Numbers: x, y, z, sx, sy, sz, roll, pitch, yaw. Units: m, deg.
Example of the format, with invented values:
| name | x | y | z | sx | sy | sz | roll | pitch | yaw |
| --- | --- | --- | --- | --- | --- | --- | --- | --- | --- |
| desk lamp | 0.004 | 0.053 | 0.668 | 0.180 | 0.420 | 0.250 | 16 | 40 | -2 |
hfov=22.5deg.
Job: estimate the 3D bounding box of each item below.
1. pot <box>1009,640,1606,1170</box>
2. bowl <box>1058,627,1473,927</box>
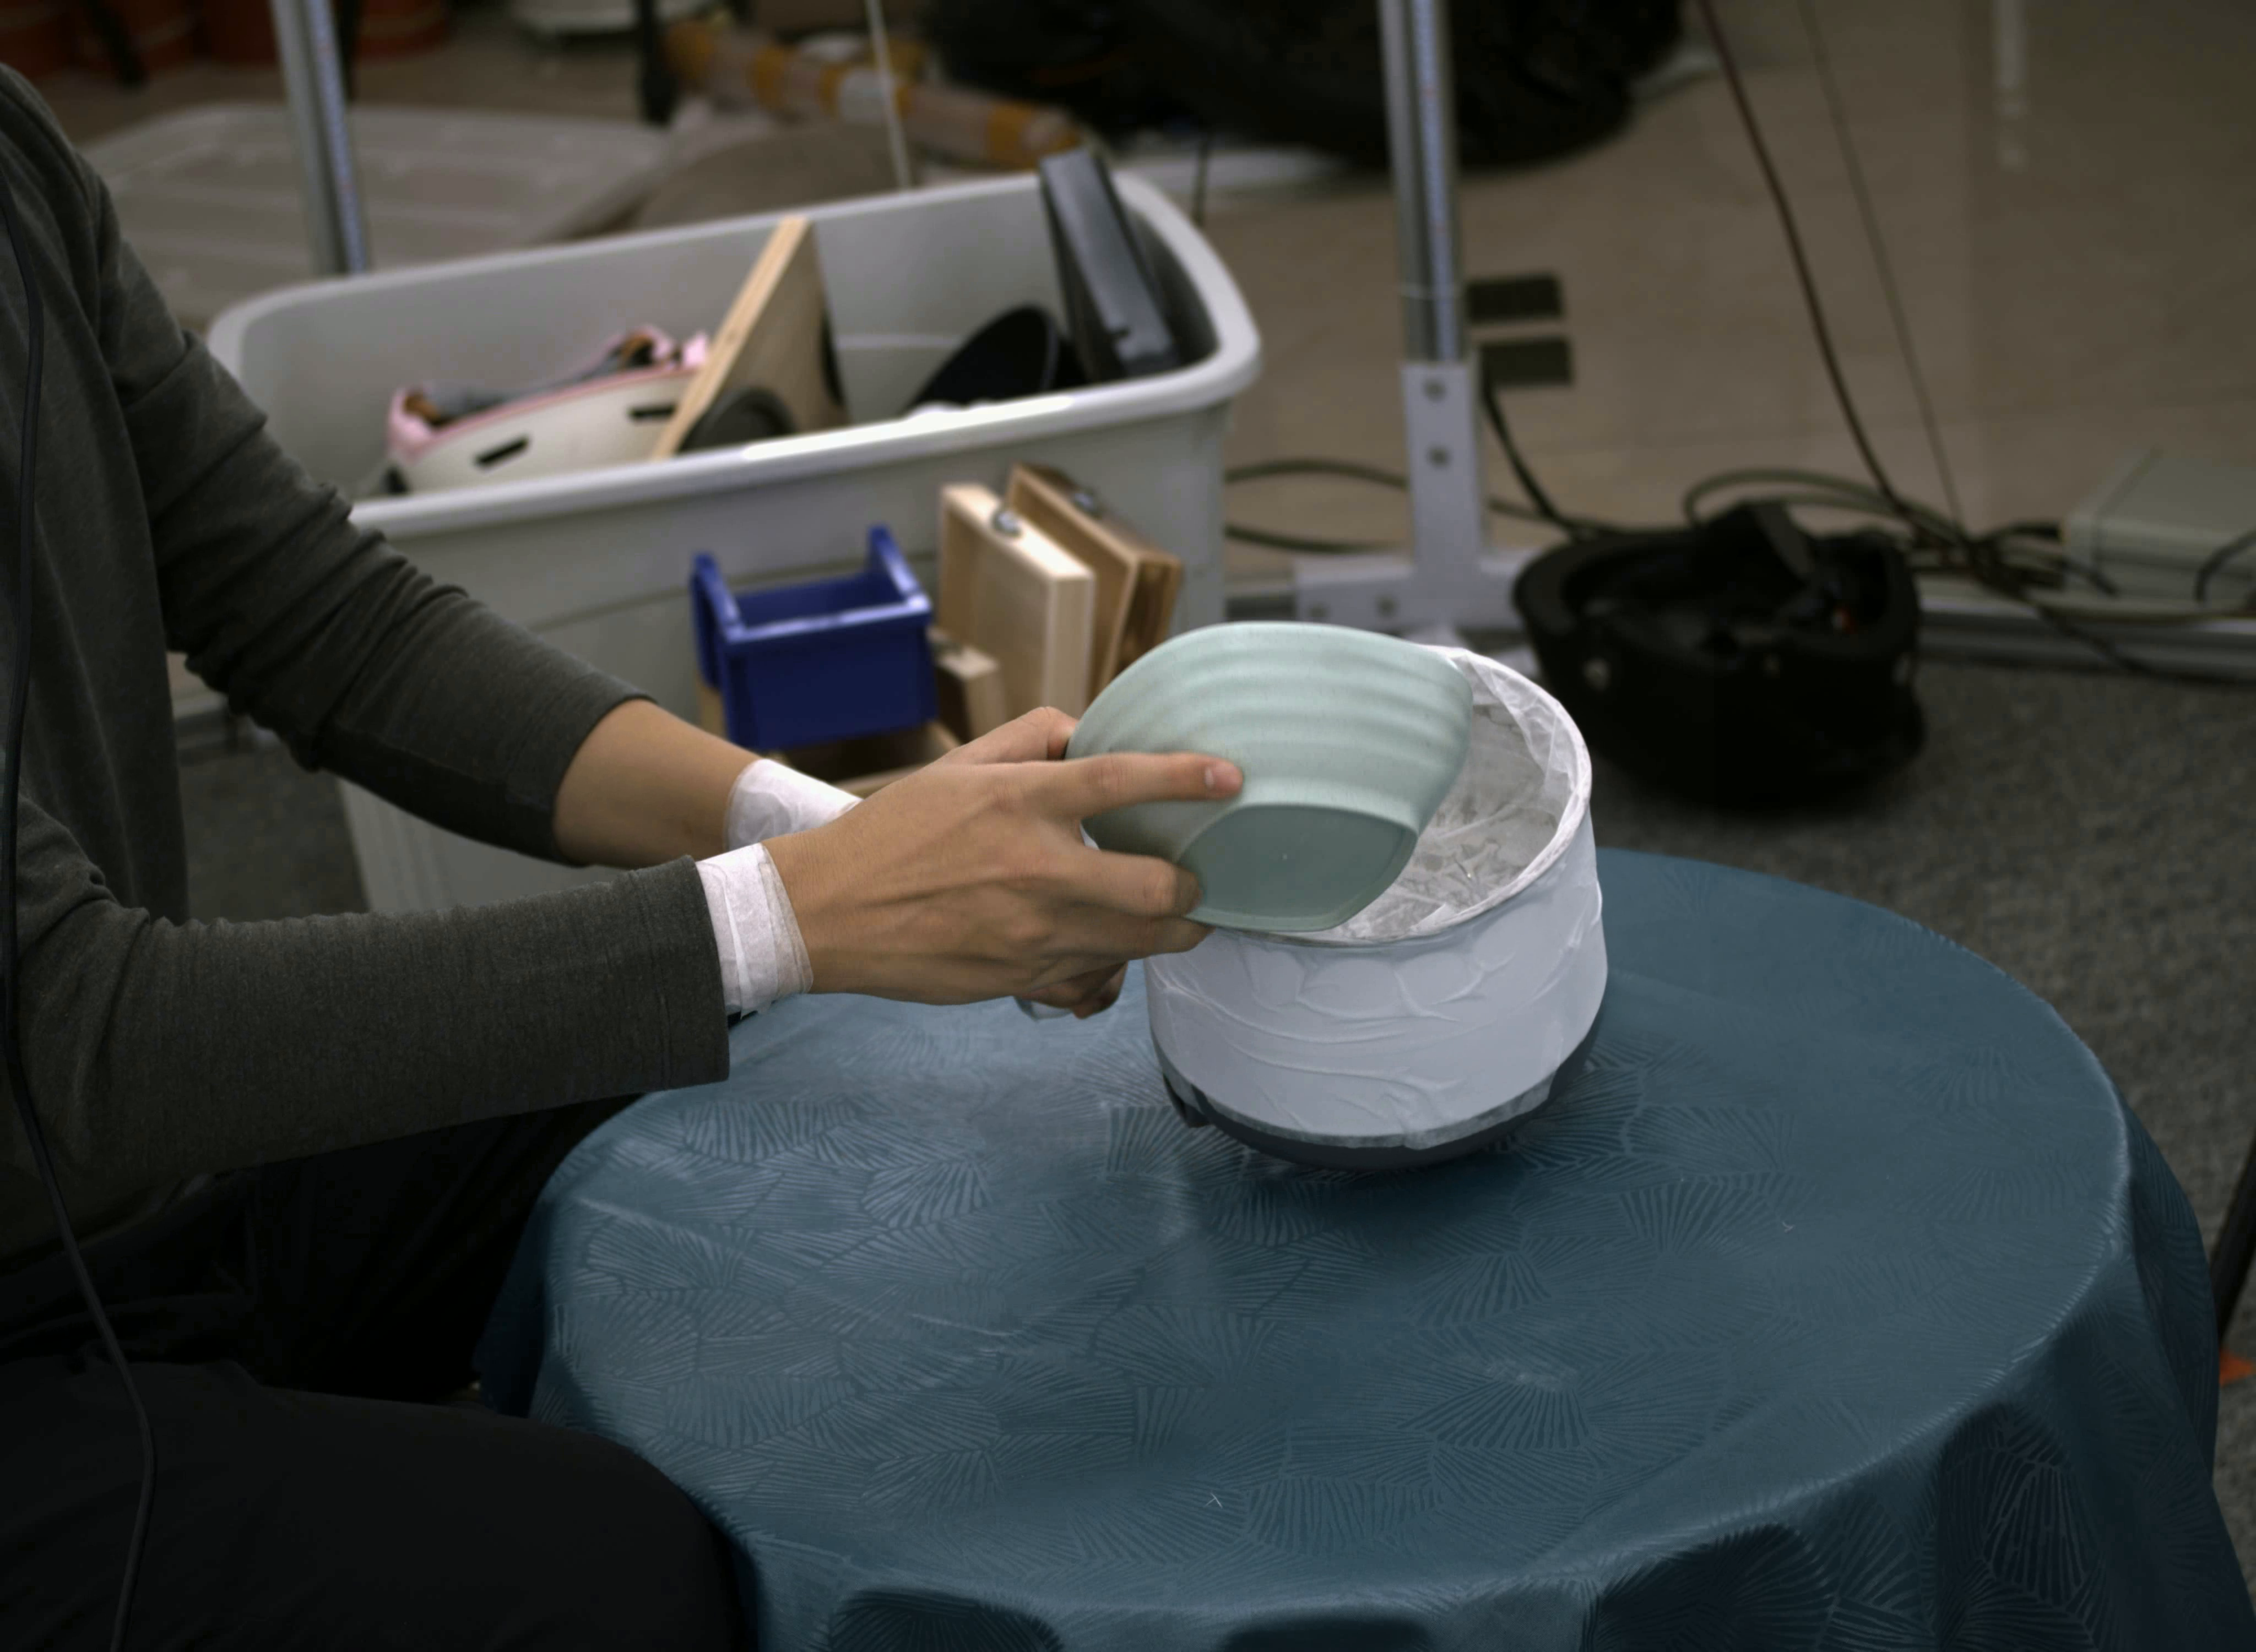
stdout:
| name | x | y | z | sx | sy | sz | roll | pitch | yaw |
| --- | --- | --- | --- | --- | --- | --- | --- | --- | --- |
| pot | 0.065 | 0.033 | 2.162 | 0.233 | 0.139 | 0.175 | 2 | 41 | 11 |
| bowl | 0.048 | -0.010 | 1.997 | 0.151 | 0.154 | 0.058 | -3 | 63 | 6 |
